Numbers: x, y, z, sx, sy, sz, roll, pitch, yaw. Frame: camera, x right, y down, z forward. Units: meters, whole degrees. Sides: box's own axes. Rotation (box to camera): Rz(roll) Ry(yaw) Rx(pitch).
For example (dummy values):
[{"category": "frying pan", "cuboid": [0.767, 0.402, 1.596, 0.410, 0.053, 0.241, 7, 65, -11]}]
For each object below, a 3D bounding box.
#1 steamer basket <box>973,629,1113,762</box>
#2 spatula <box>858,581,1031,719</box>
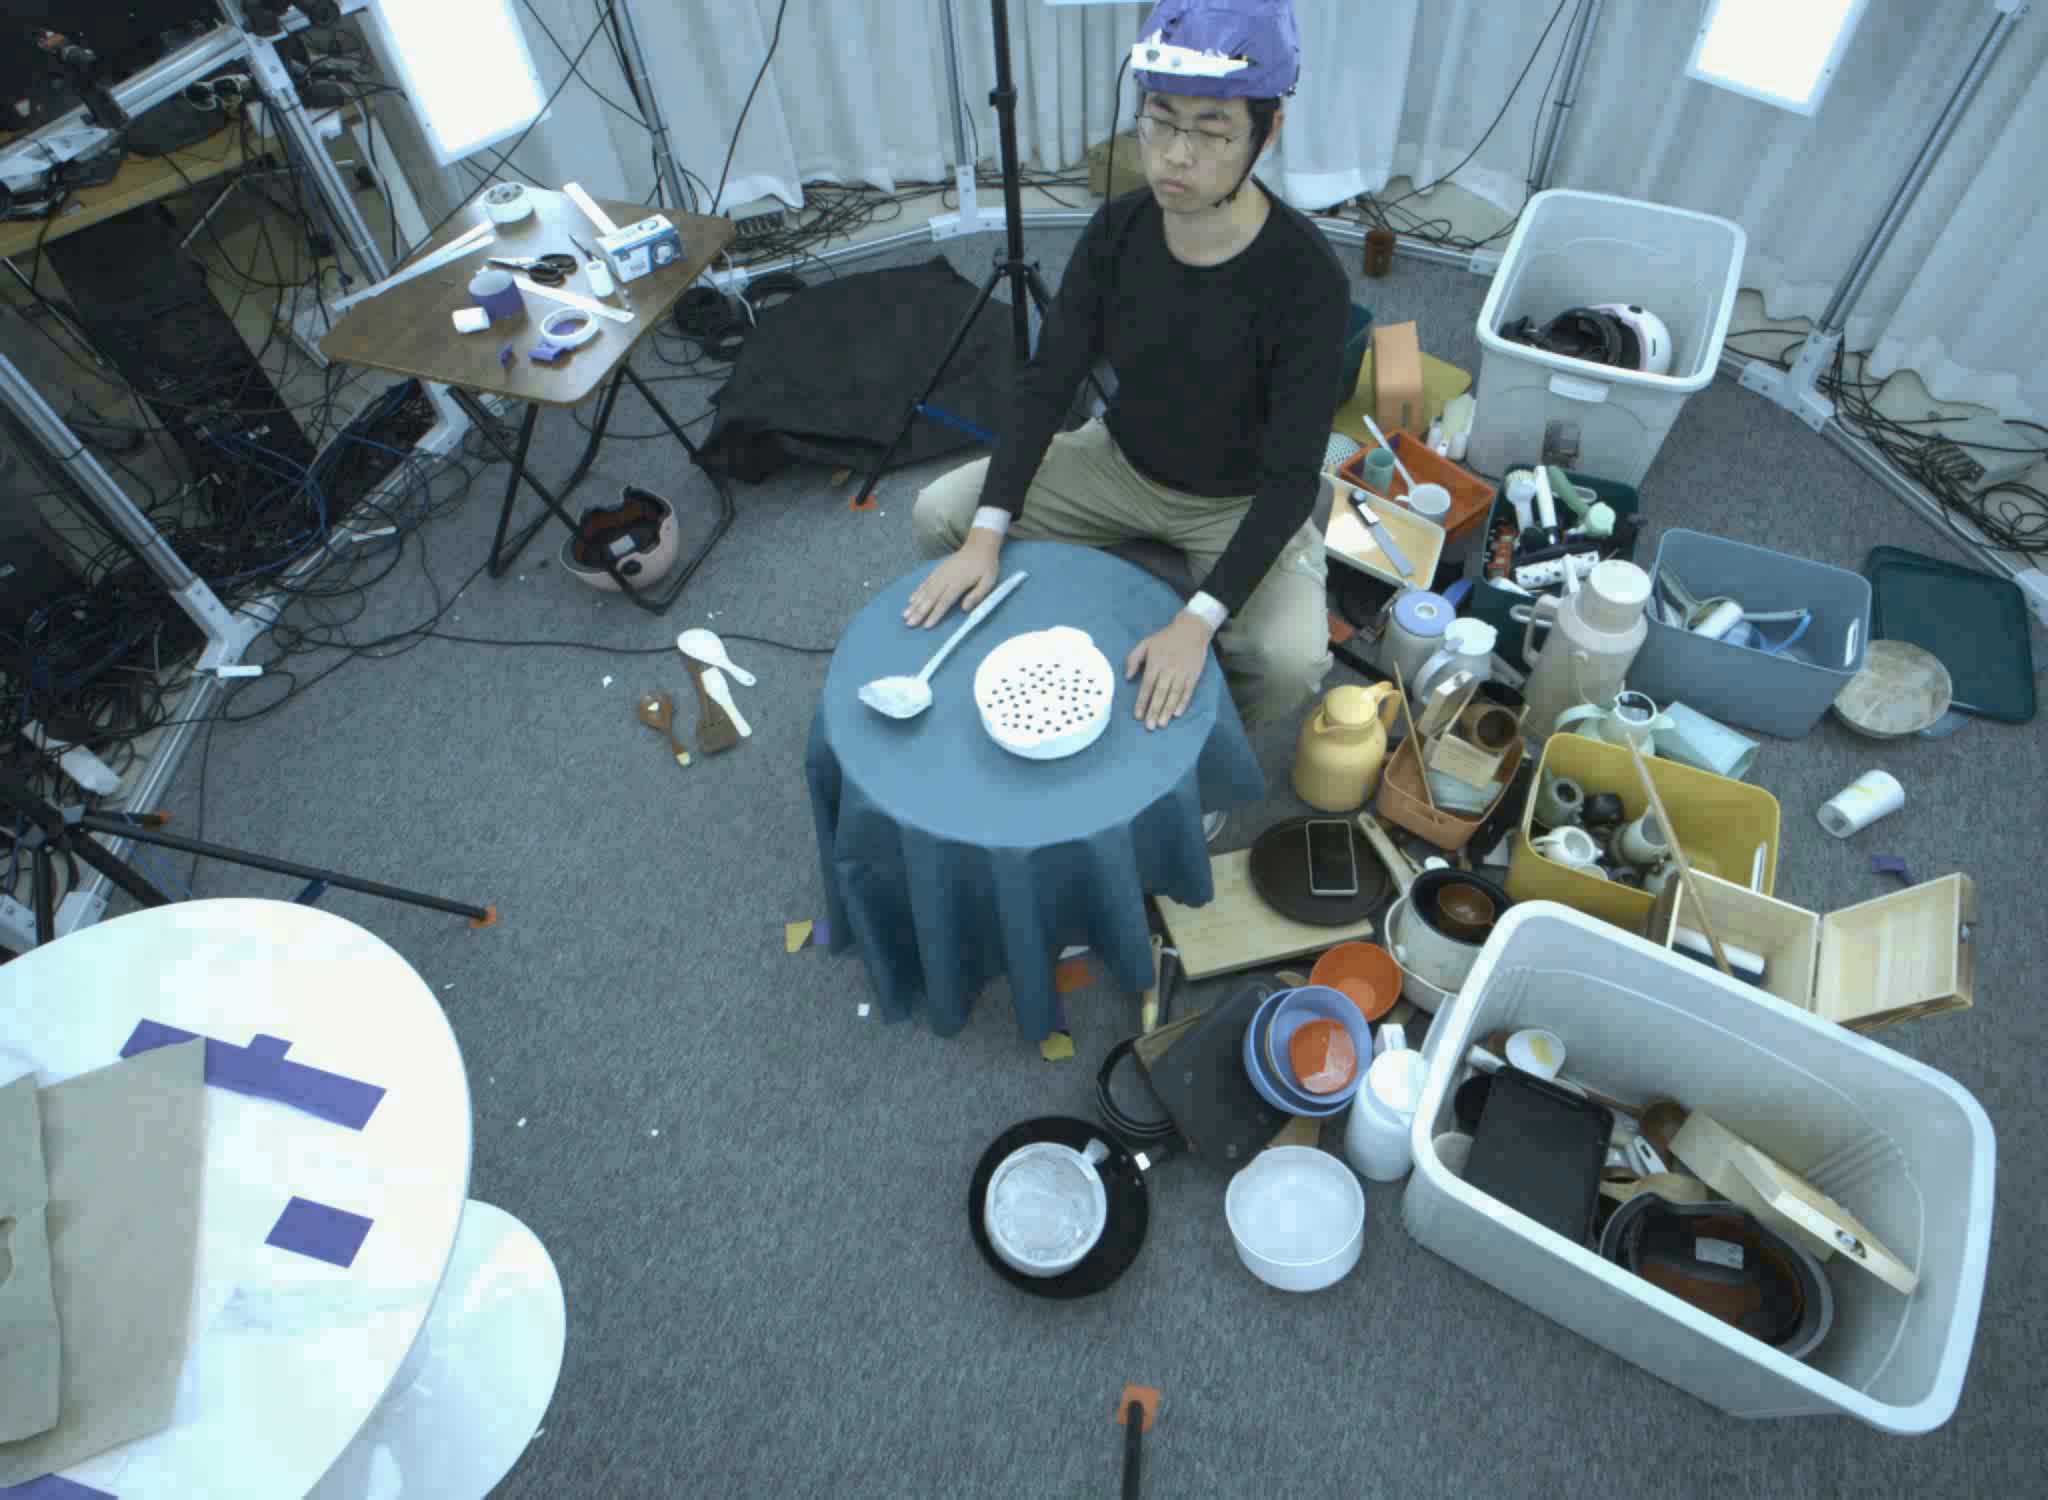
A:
[{"category": "steamer basket", "cuboid": [0.028, -0.075, 1.797, 0.200, 0.070, 0.230, 20, 57, 14]}, {"category": "spatula", "cuboid": [-0.107, -0.168, 1.887, 0.097, 0.045, 0.366, 29, 61, 23]}]
